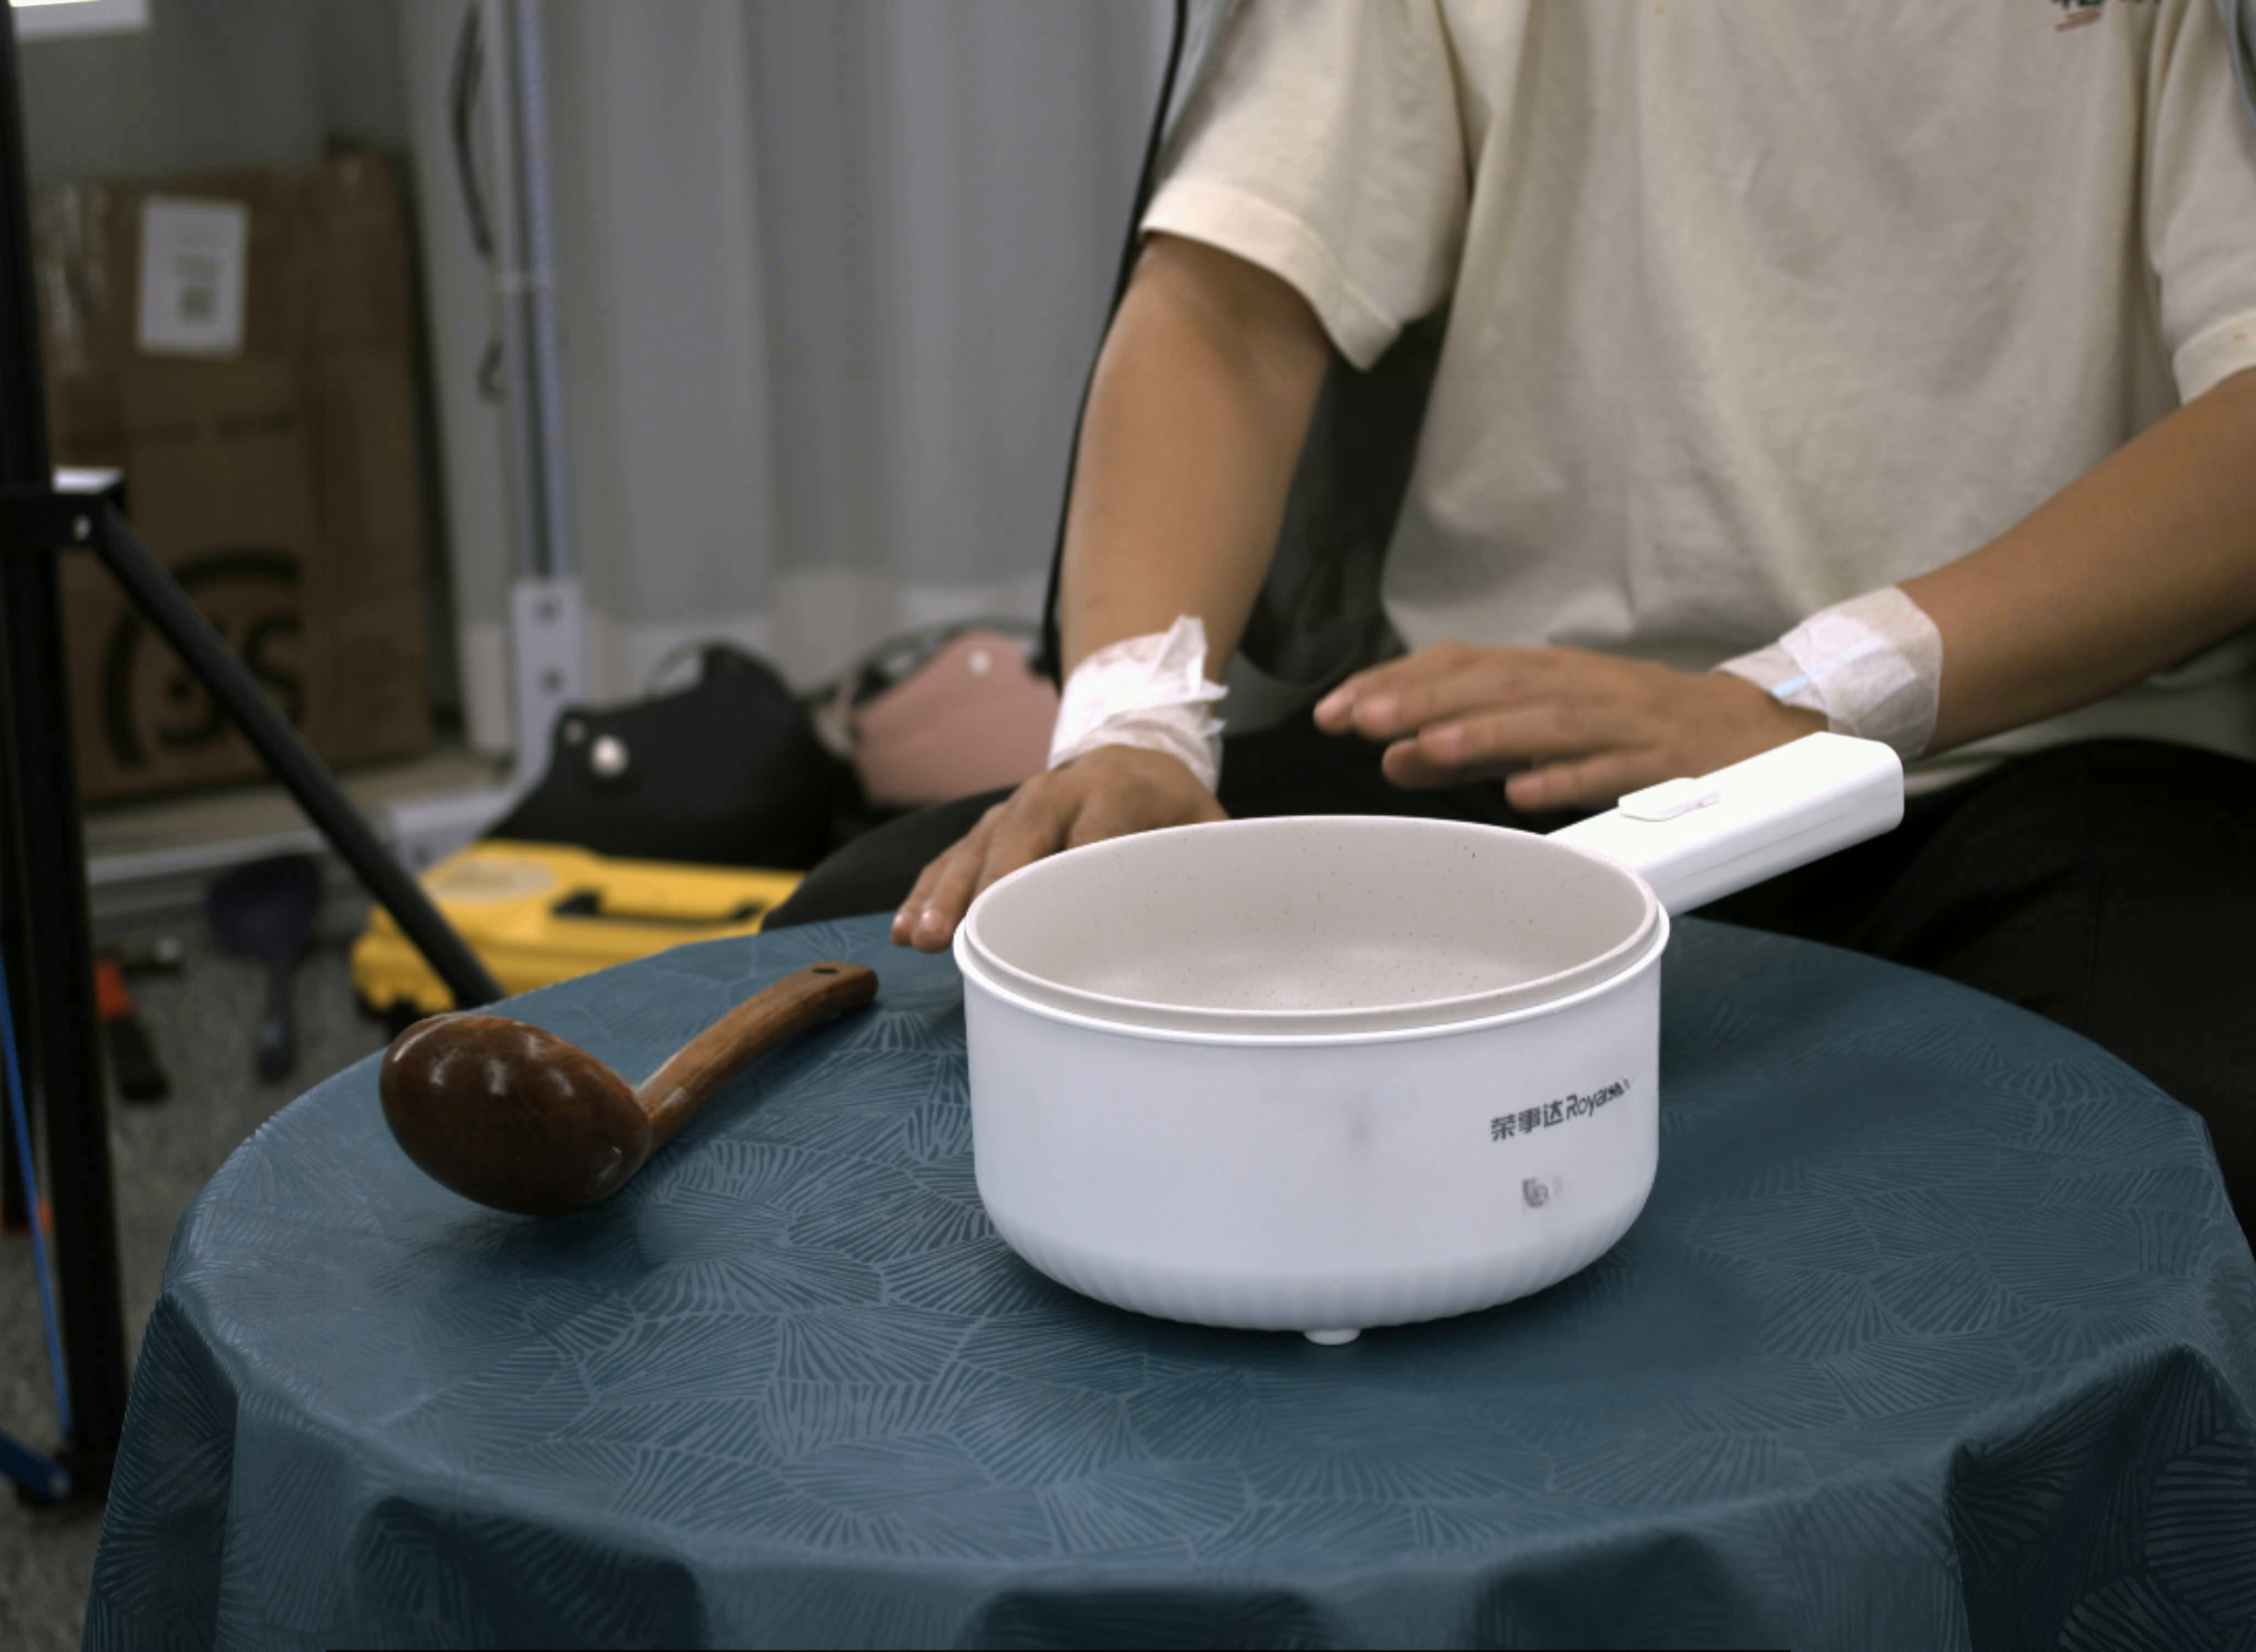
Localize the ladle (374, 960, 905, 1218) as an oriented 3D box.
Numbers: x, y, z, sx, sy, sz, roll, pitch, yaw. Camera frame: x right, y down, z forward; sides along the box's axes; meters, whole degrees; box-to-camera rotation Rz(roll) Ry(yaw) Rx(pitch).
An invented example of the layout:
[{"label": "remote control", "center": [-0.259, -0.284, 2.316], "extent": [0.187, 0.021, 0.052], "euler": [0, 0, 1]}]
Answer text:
[{"label": "ladle", "center": [-0.137, 0.055, 1.623], "extent": [0.083, 0.076, 0.270], "euler": [13, 21, 21]}]

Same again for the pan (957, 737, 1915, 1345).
[{"label": "pan", "center": [0.107, 0.056, 1.543], "extent": [0.346, 0.102, 0.206], "euler": [-16, 20, -42]}]
